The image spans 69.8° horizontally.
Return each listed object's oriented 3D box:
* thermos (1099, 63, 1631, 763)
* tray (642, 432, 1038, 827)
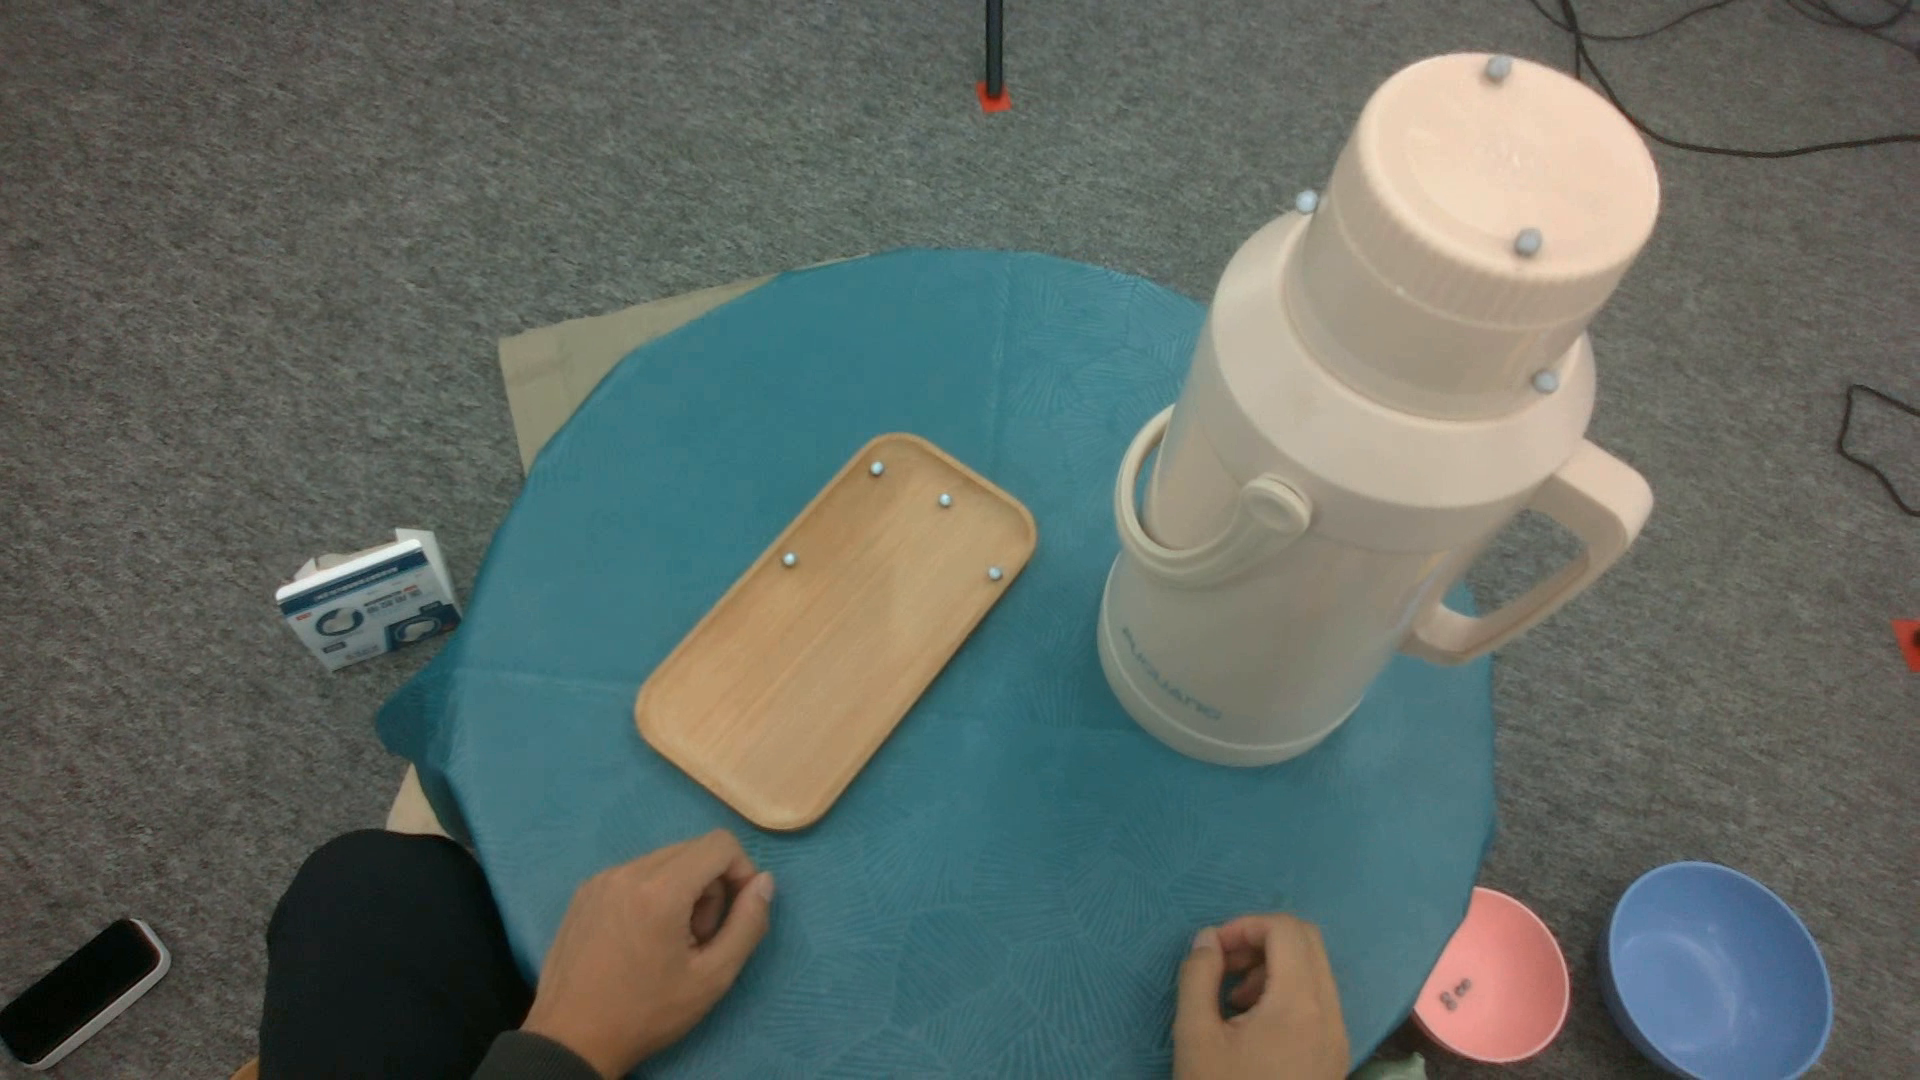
[{"bbox_3d":[0.182,-0.026,0.653,0.207,0.404,0.176,35,64,15],"label":"thermos"},{"bbox_3d":[-0.066,0.046,0.812,0.130,0.023,0.251,33,65,16],"label":"tray"}]
